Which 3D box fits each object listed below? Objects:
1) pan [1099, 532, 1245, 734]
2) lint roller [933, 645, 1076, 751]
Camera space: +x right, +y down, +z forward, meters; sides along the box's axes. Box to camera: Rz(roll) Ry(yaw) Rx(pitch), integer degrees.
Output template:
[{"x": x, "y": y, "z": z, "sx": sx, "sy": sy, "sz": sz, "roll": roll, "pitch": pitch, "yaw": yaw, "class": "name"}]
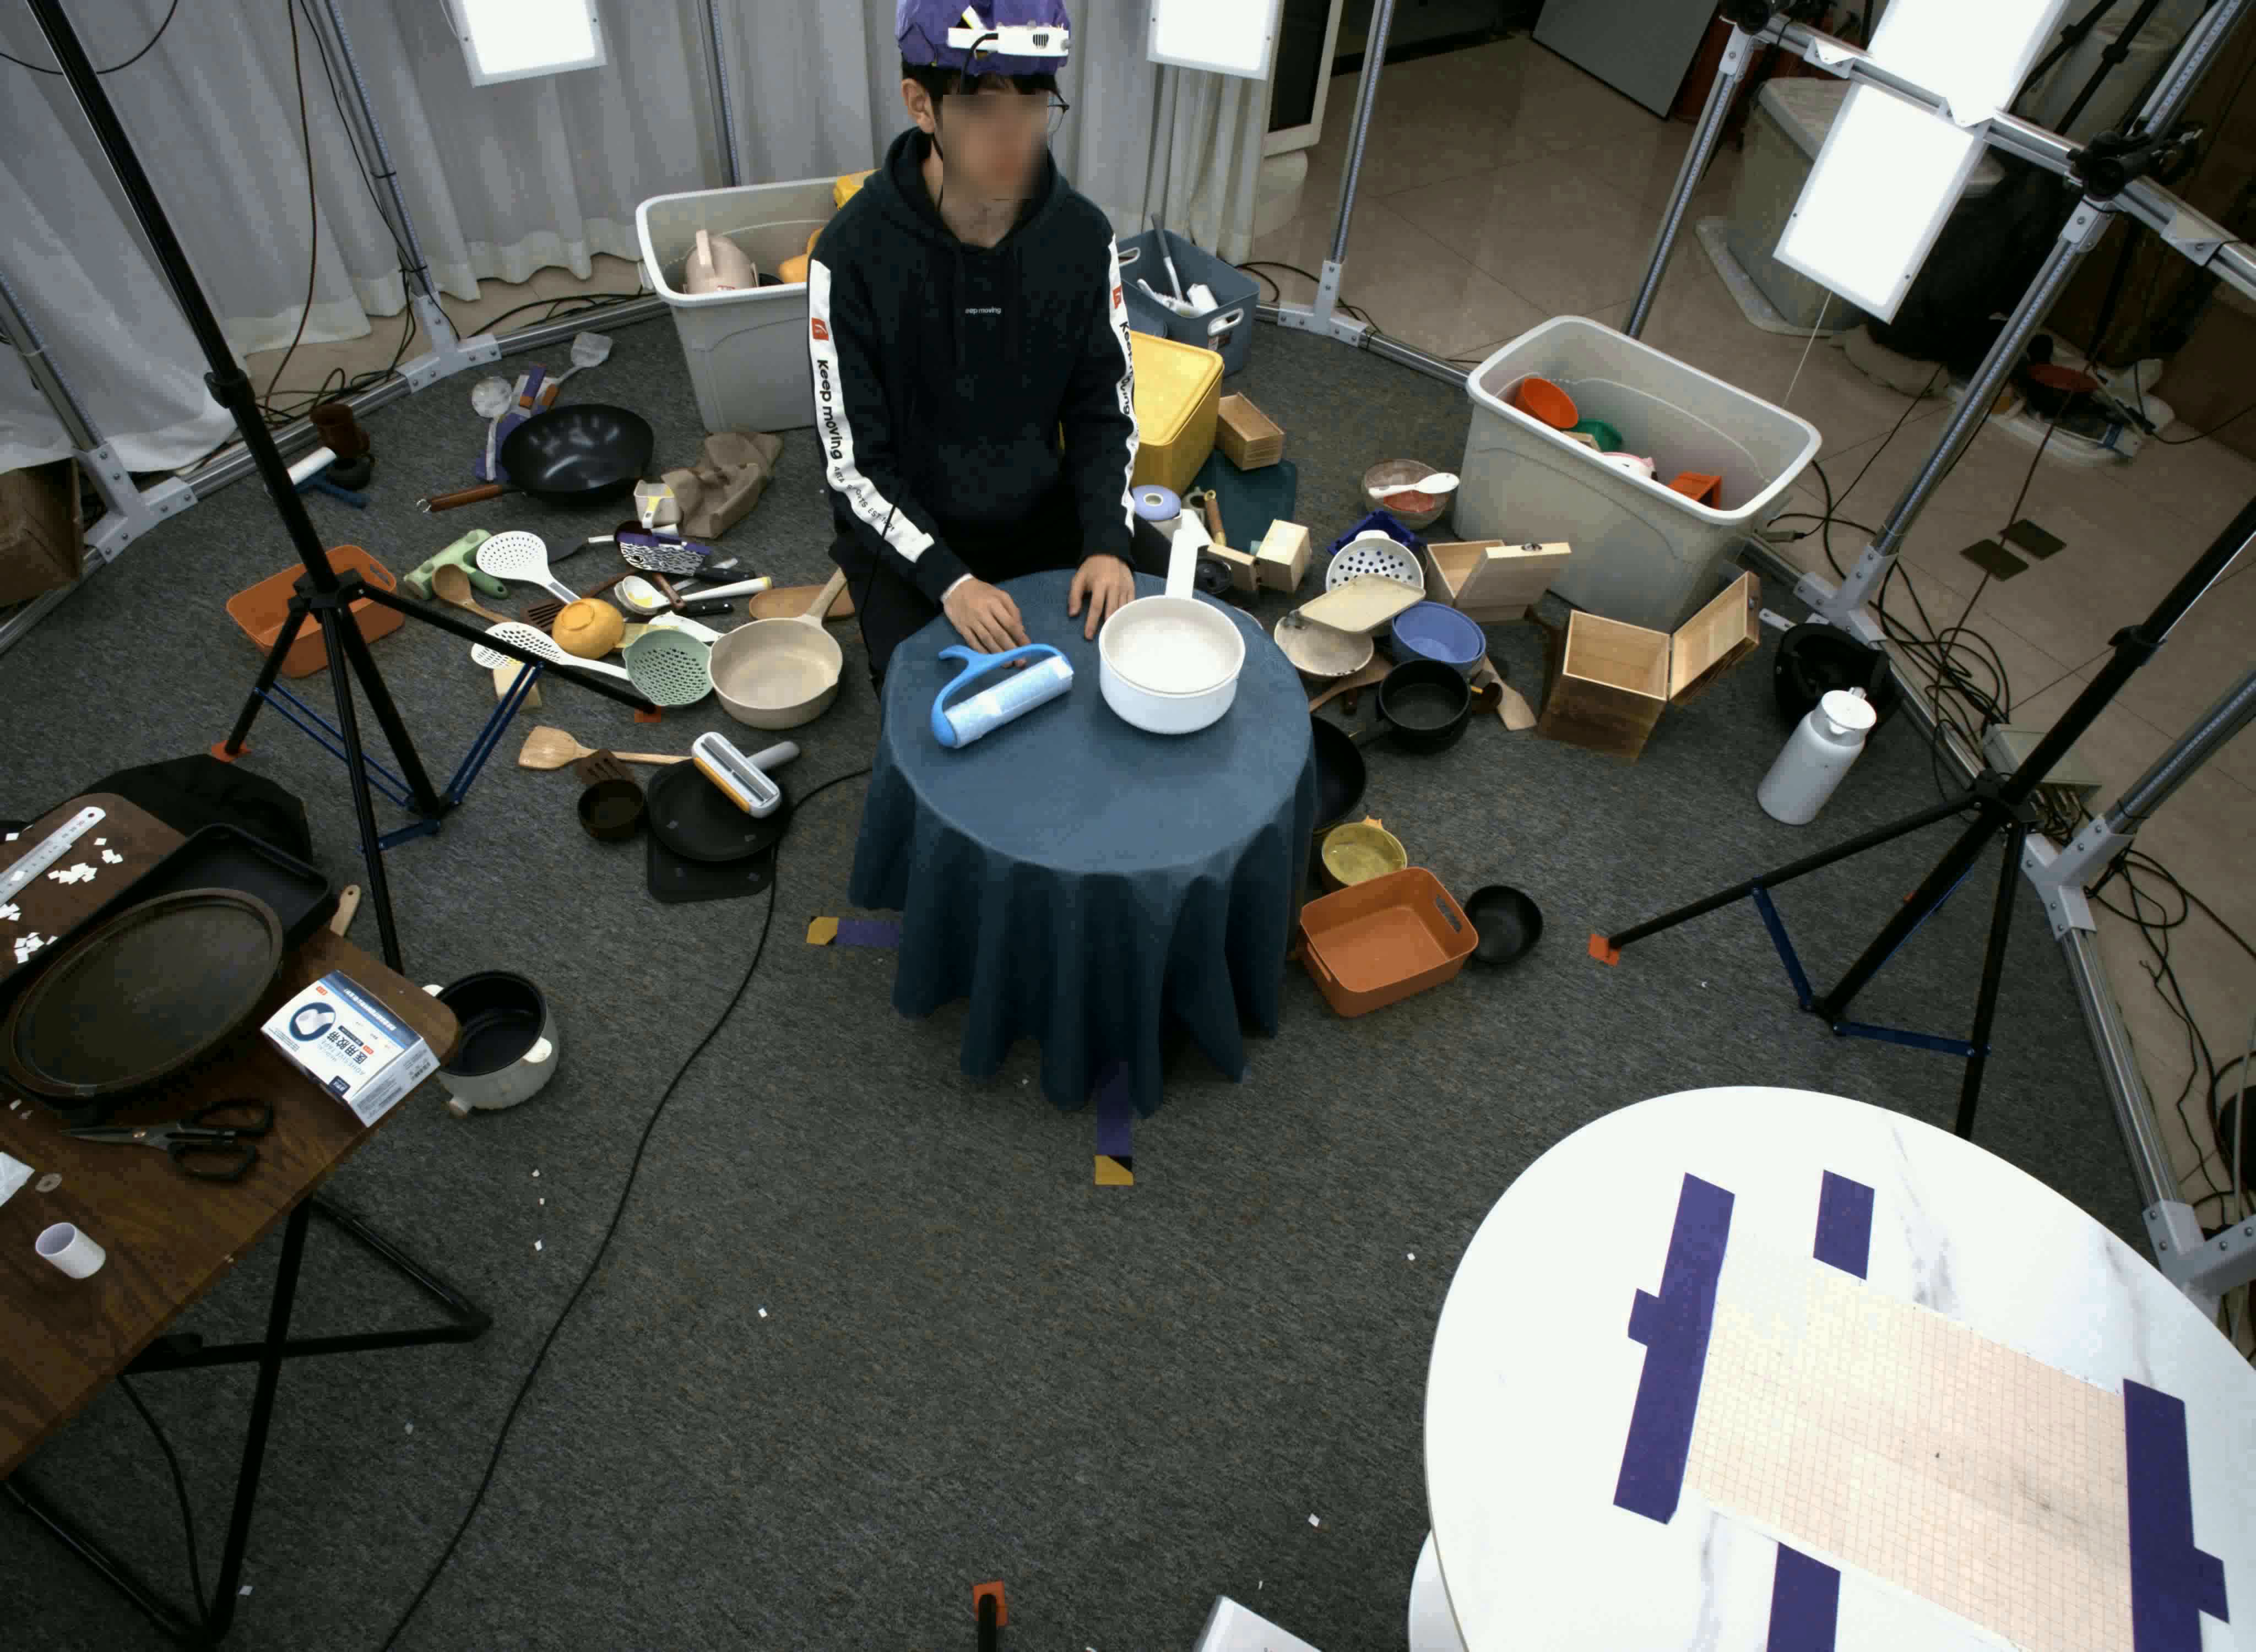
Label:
[{"x": 0.067, "y": -0.279, "z": 1.851, "sx": 0.201, "sy": 0.099, "sz": 0.363, "roll": 7, "pitch": 48, "yaw": 3, "class": "pan"}, {"x": -0.206, "y": -0.207, "z": 1.798, "sx": 0.231, "sy": 0.066, "sz": 0.183, "roll": -35, "pitch": 60, "yaw": -27, "class": "lint roller"}]
